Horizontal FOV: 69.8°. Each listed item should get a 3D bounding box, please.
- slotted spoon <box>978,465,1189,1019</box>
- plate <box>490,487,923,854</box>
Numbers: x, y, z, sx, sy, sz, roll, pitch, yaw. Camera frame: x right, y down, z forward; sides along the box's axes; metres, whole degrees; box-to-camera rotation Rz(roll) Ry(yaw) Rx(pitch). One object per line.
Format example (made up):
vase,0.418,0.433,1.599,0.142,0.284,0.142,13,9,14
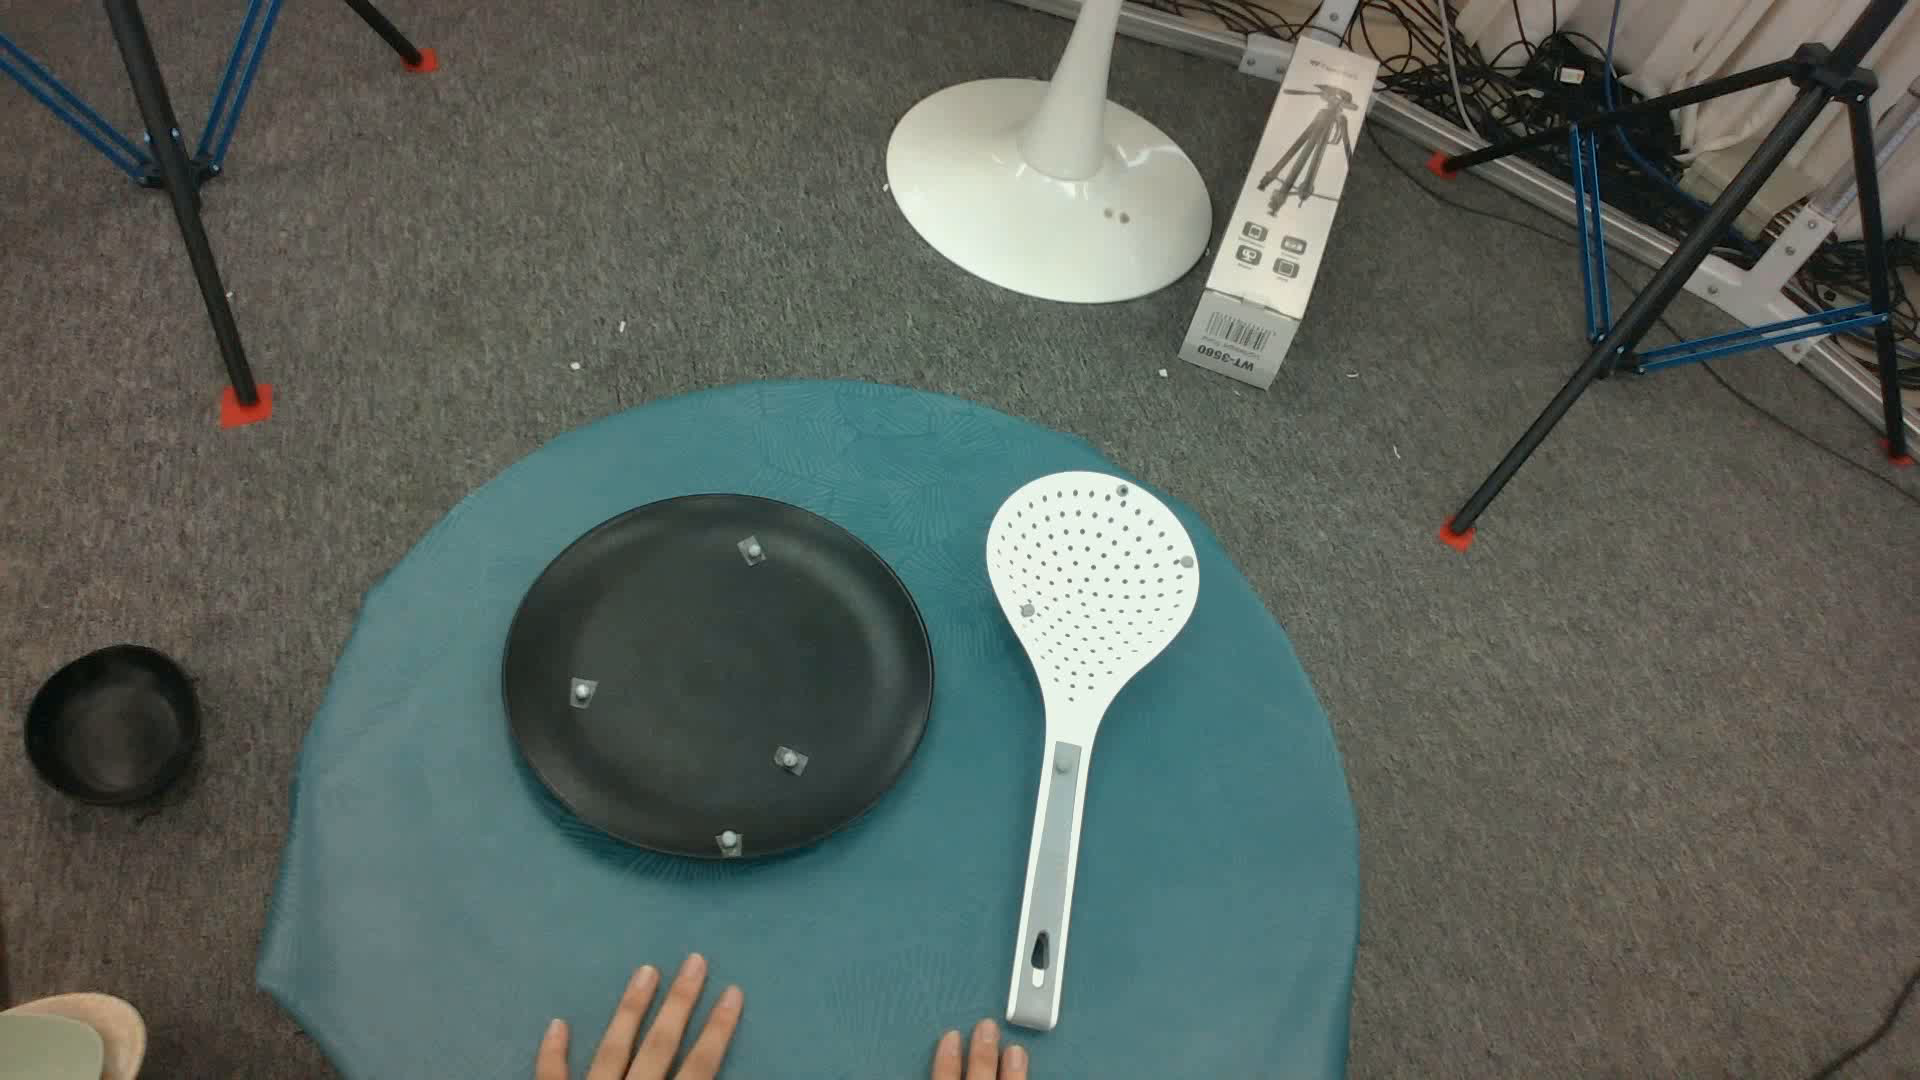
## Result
slotted spoon,0.059,0.102,0.809,0.136,0.045,0.351,13,53,-2
plate,-0.143,0.070,0.796,0.244,0.023,0.245,7,52,-9
